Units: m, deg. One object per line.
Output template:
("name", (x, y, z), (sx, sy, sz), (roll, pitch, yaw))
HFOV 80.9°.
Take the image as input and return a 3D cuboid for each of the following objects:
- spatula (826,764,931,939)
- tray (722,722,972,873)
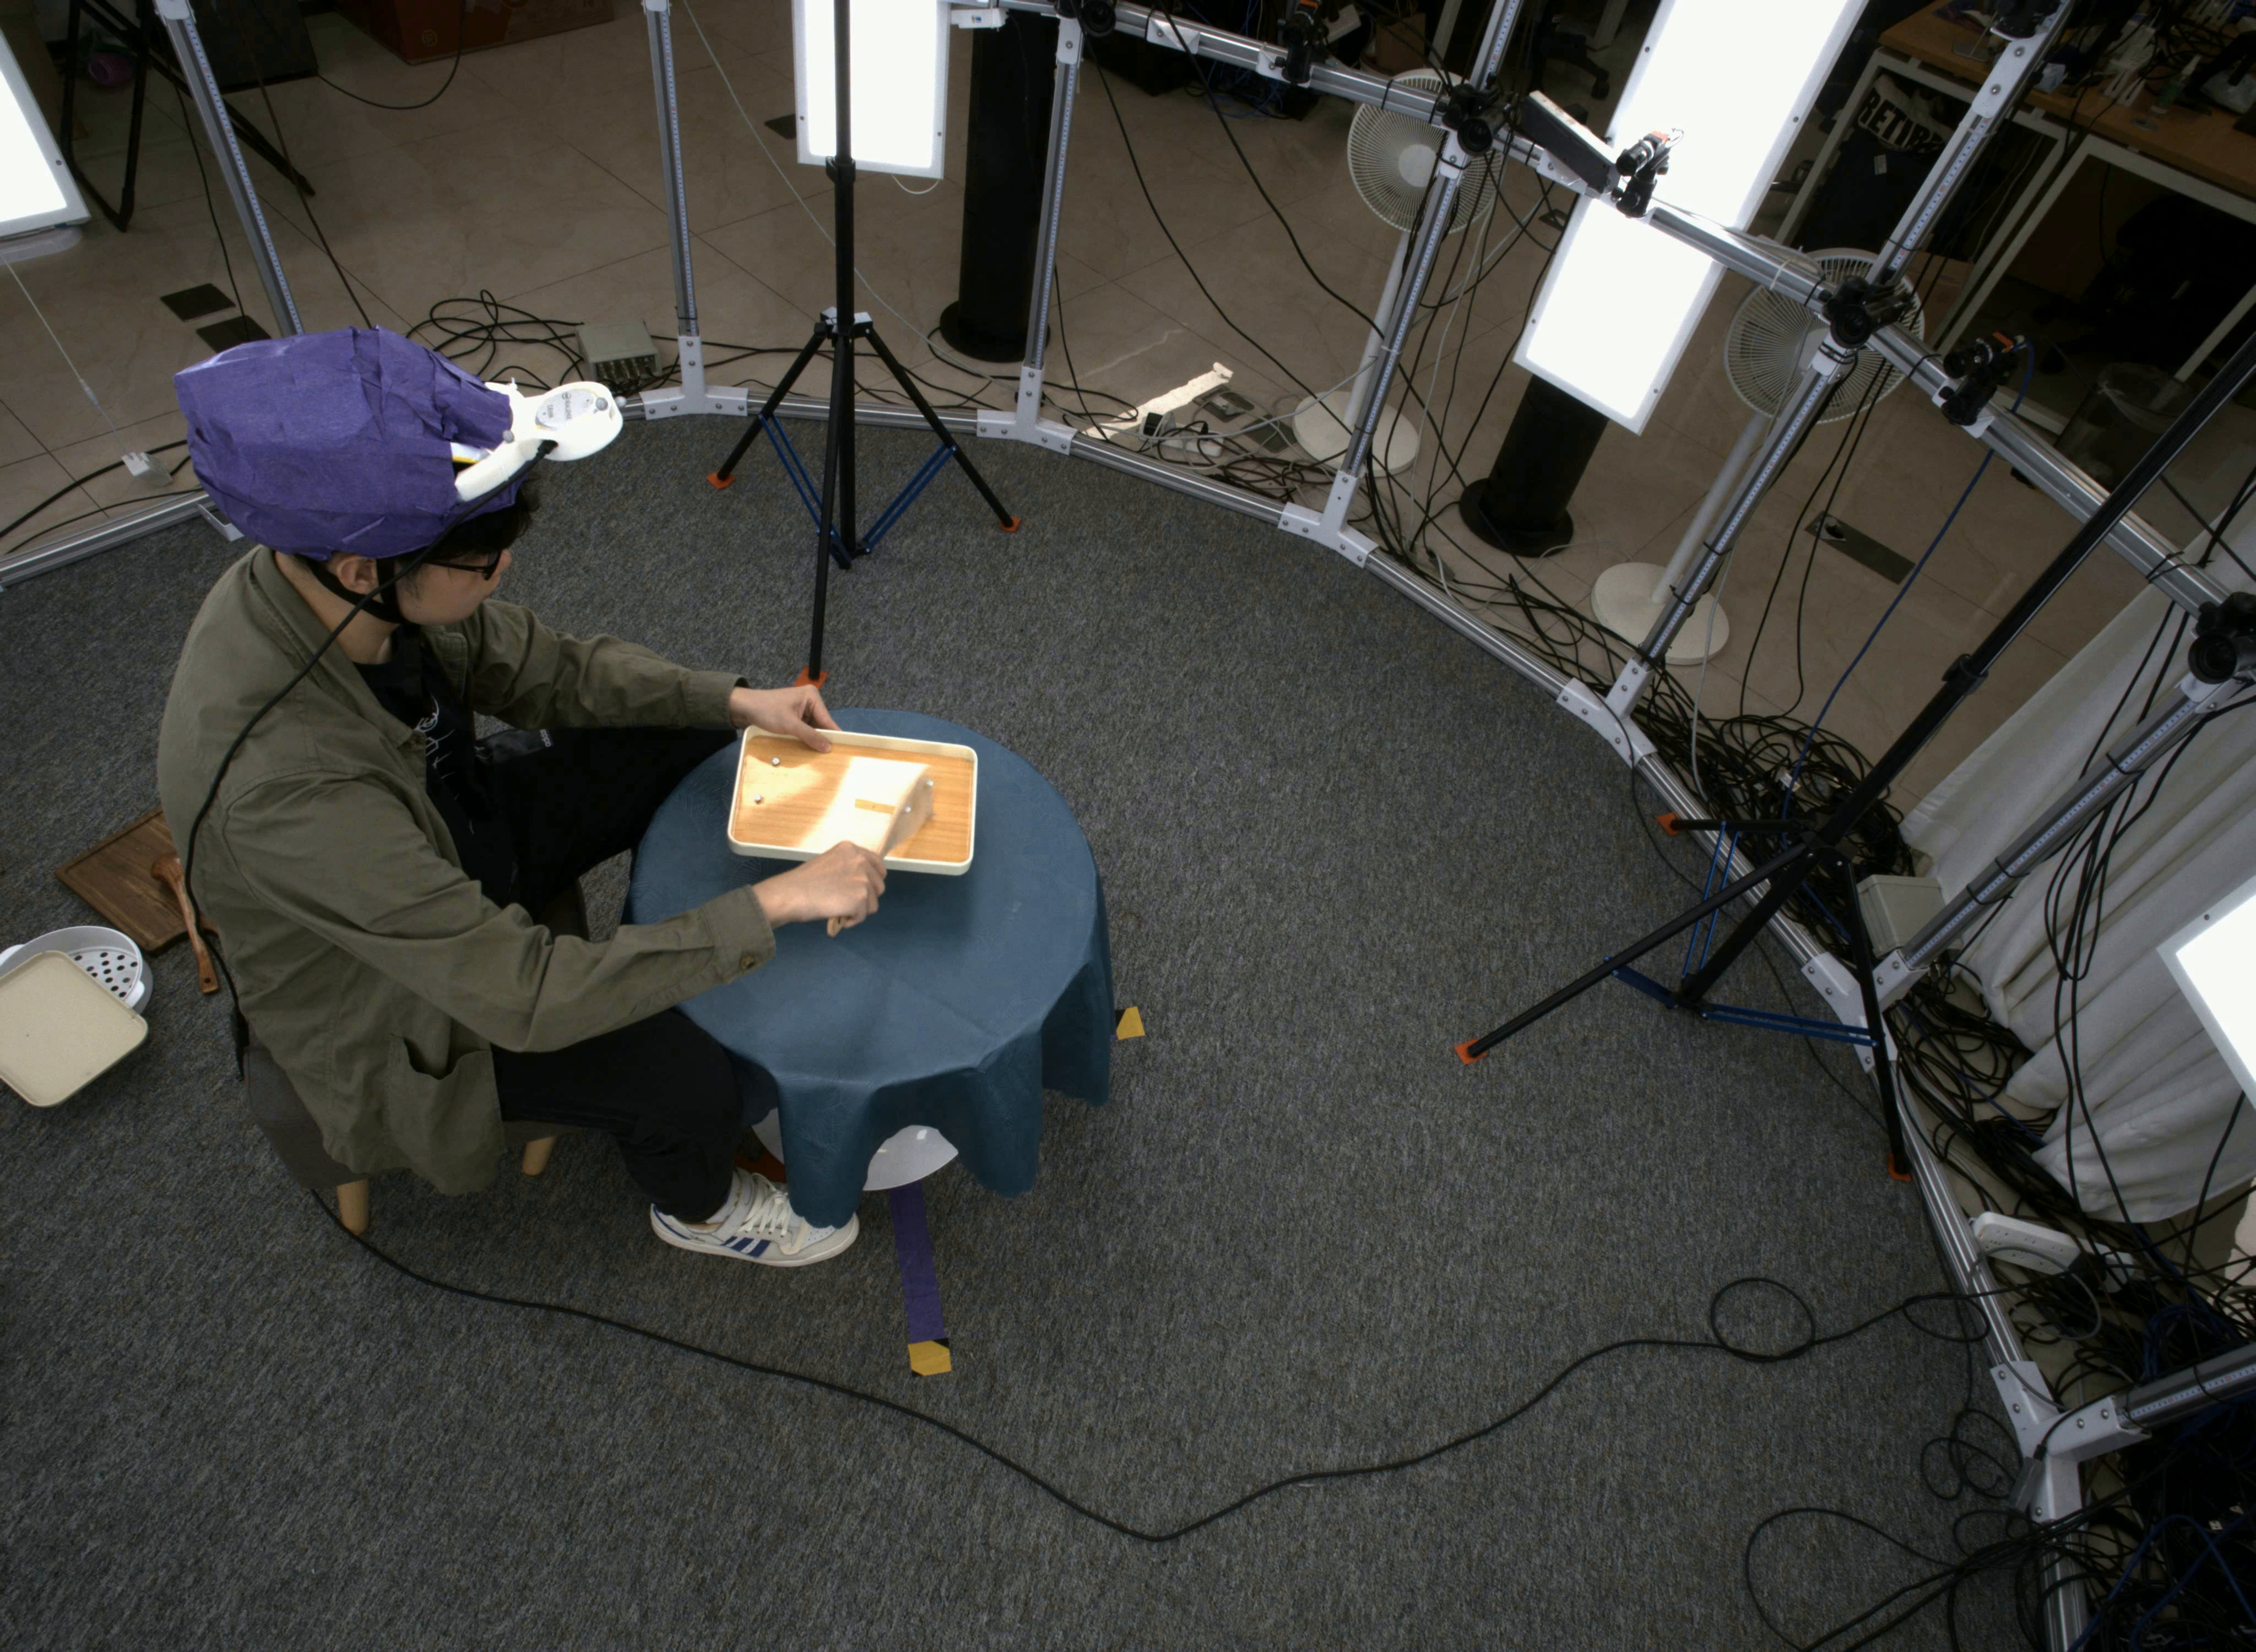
("spatula", (-0.287, 0.029, 1.520), (0.016, 0.082, 0.323), (10, 33, 6))
("tray", (-0.351, -0.037, 1.648), (0.300, 0.028, 0.188), (6, 55, -12))
